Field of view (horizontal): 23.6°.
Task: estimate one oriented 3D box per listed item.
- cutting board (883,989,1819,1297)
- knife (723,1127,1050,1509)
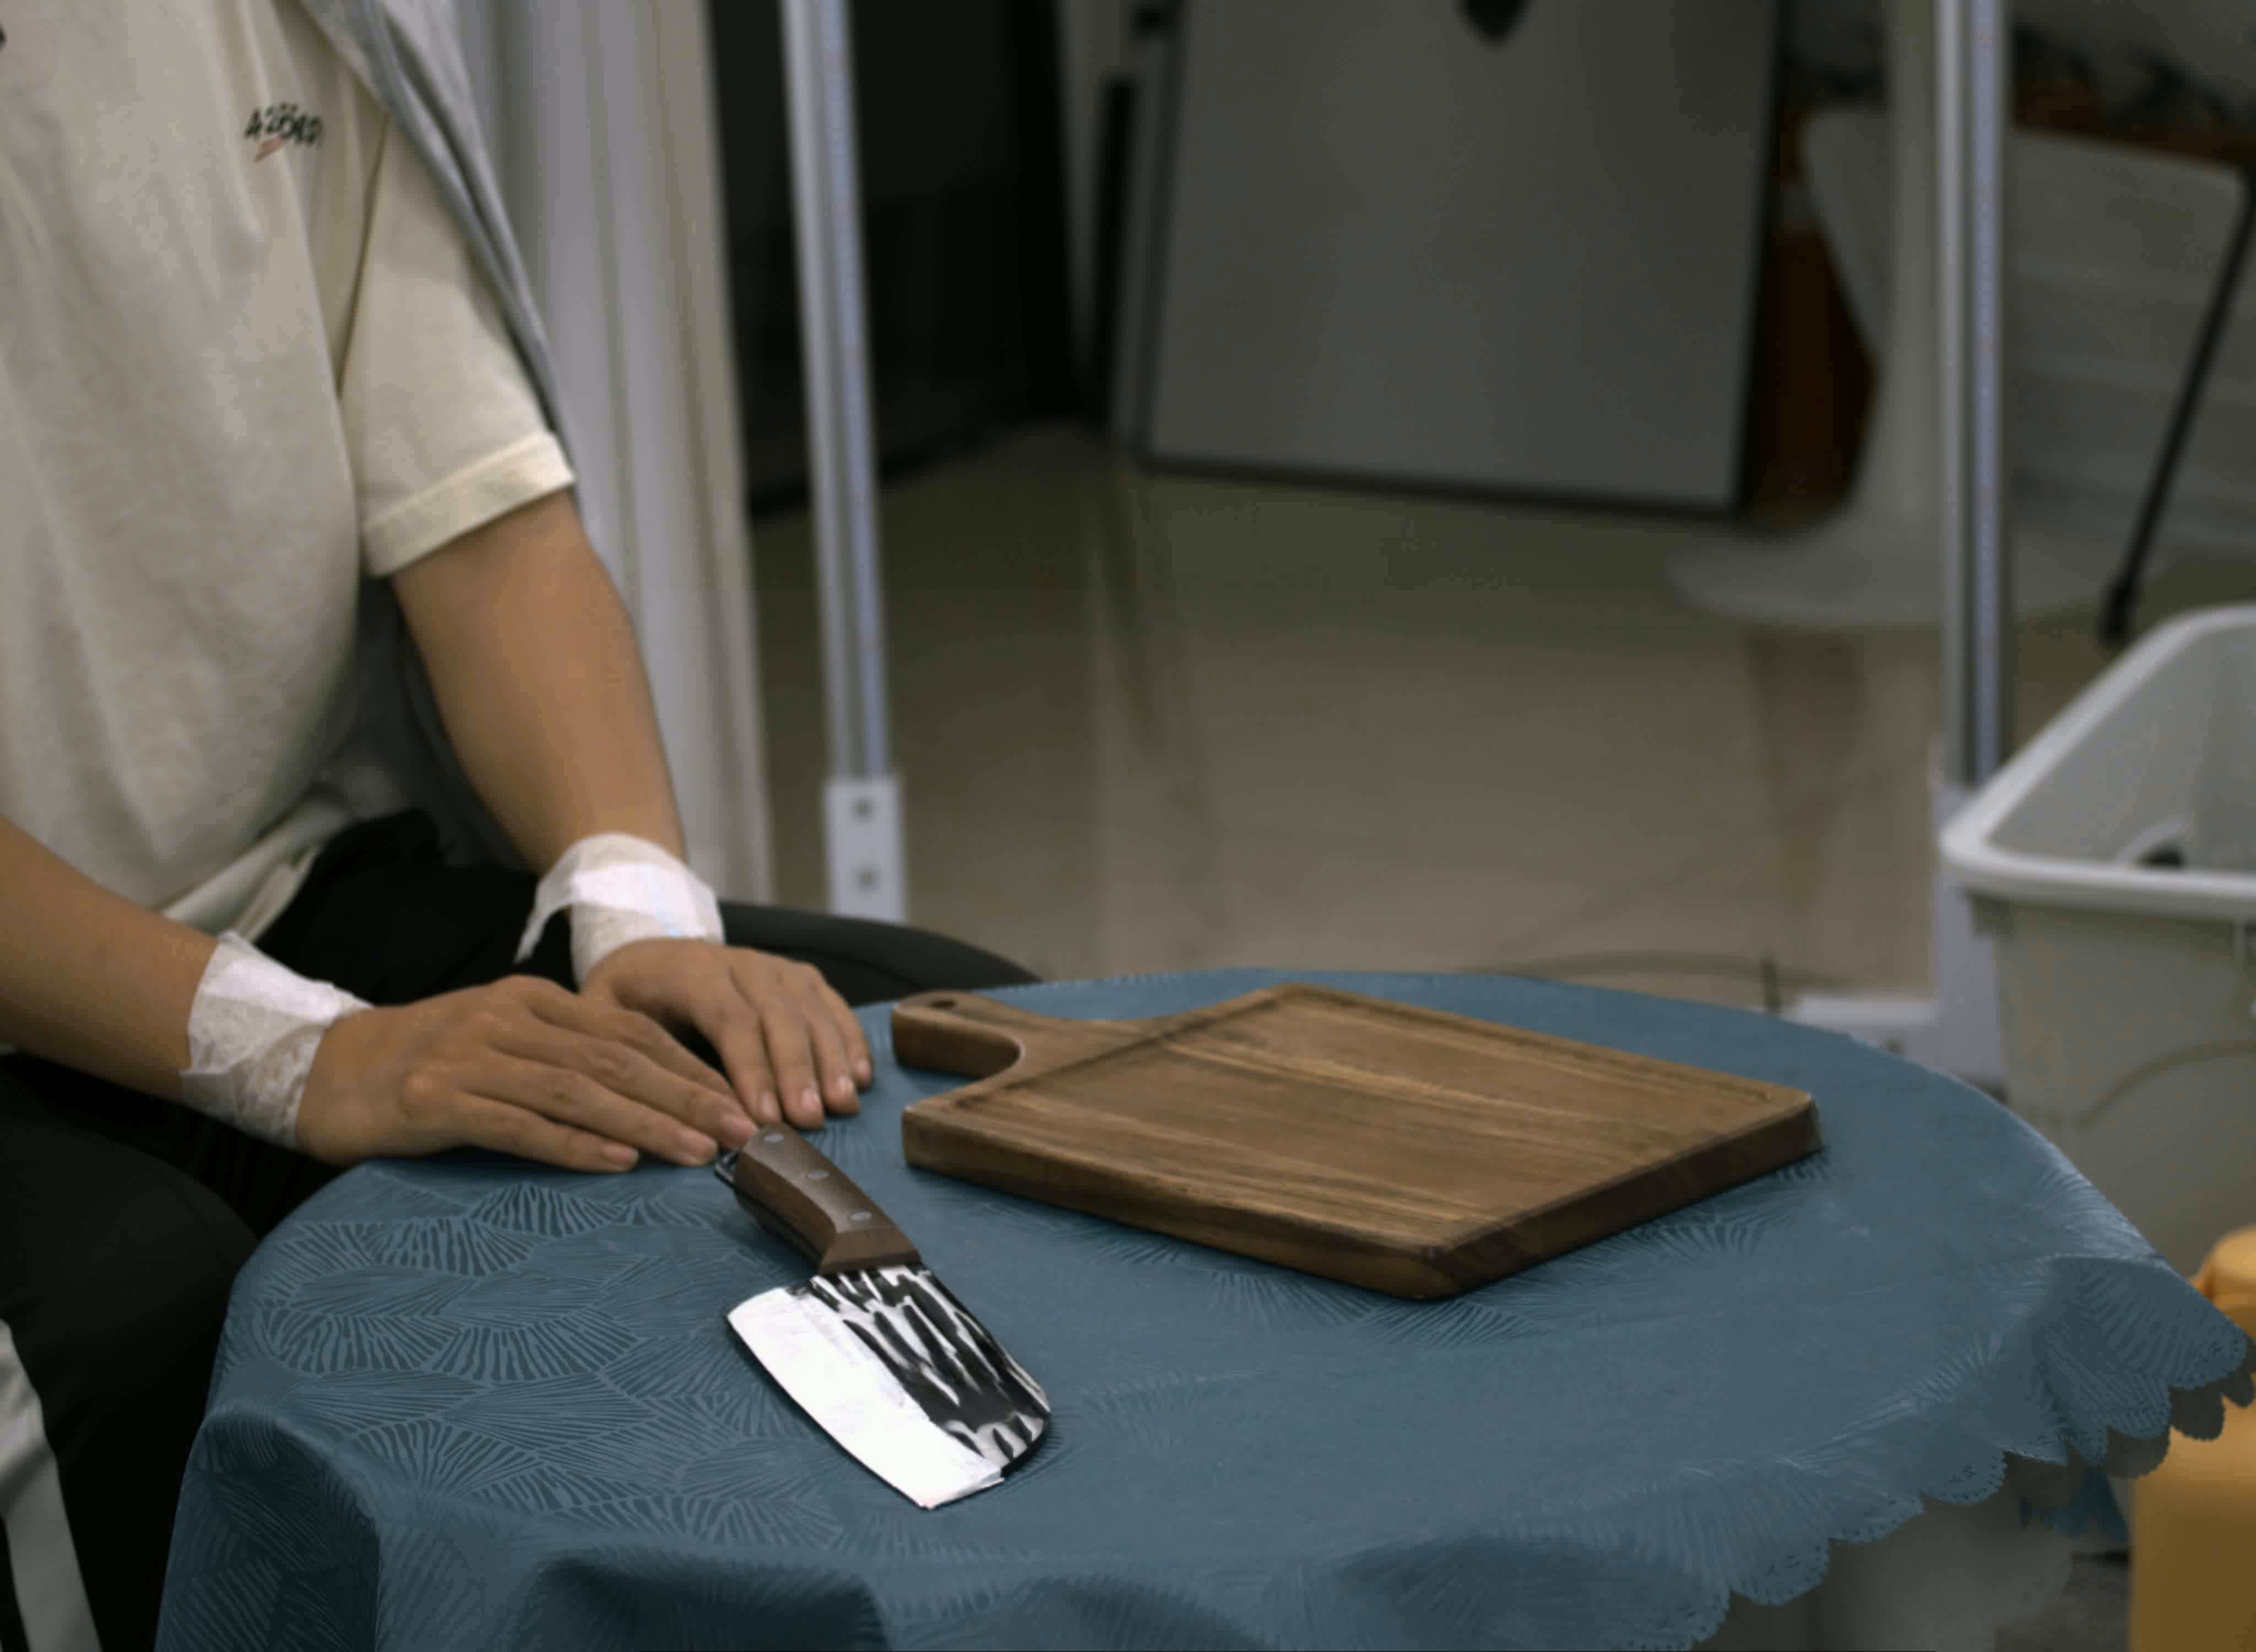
[{"bbox_3d":[0.042,0.095,1.826,0.197,0.023,0.355,-16,18,-41],"label":"cutting board"},{"bbox_3d":[-0.085,0.149,1.647,0.067,0.024,0.302,-11,18,-16],"label":"knife"}]
